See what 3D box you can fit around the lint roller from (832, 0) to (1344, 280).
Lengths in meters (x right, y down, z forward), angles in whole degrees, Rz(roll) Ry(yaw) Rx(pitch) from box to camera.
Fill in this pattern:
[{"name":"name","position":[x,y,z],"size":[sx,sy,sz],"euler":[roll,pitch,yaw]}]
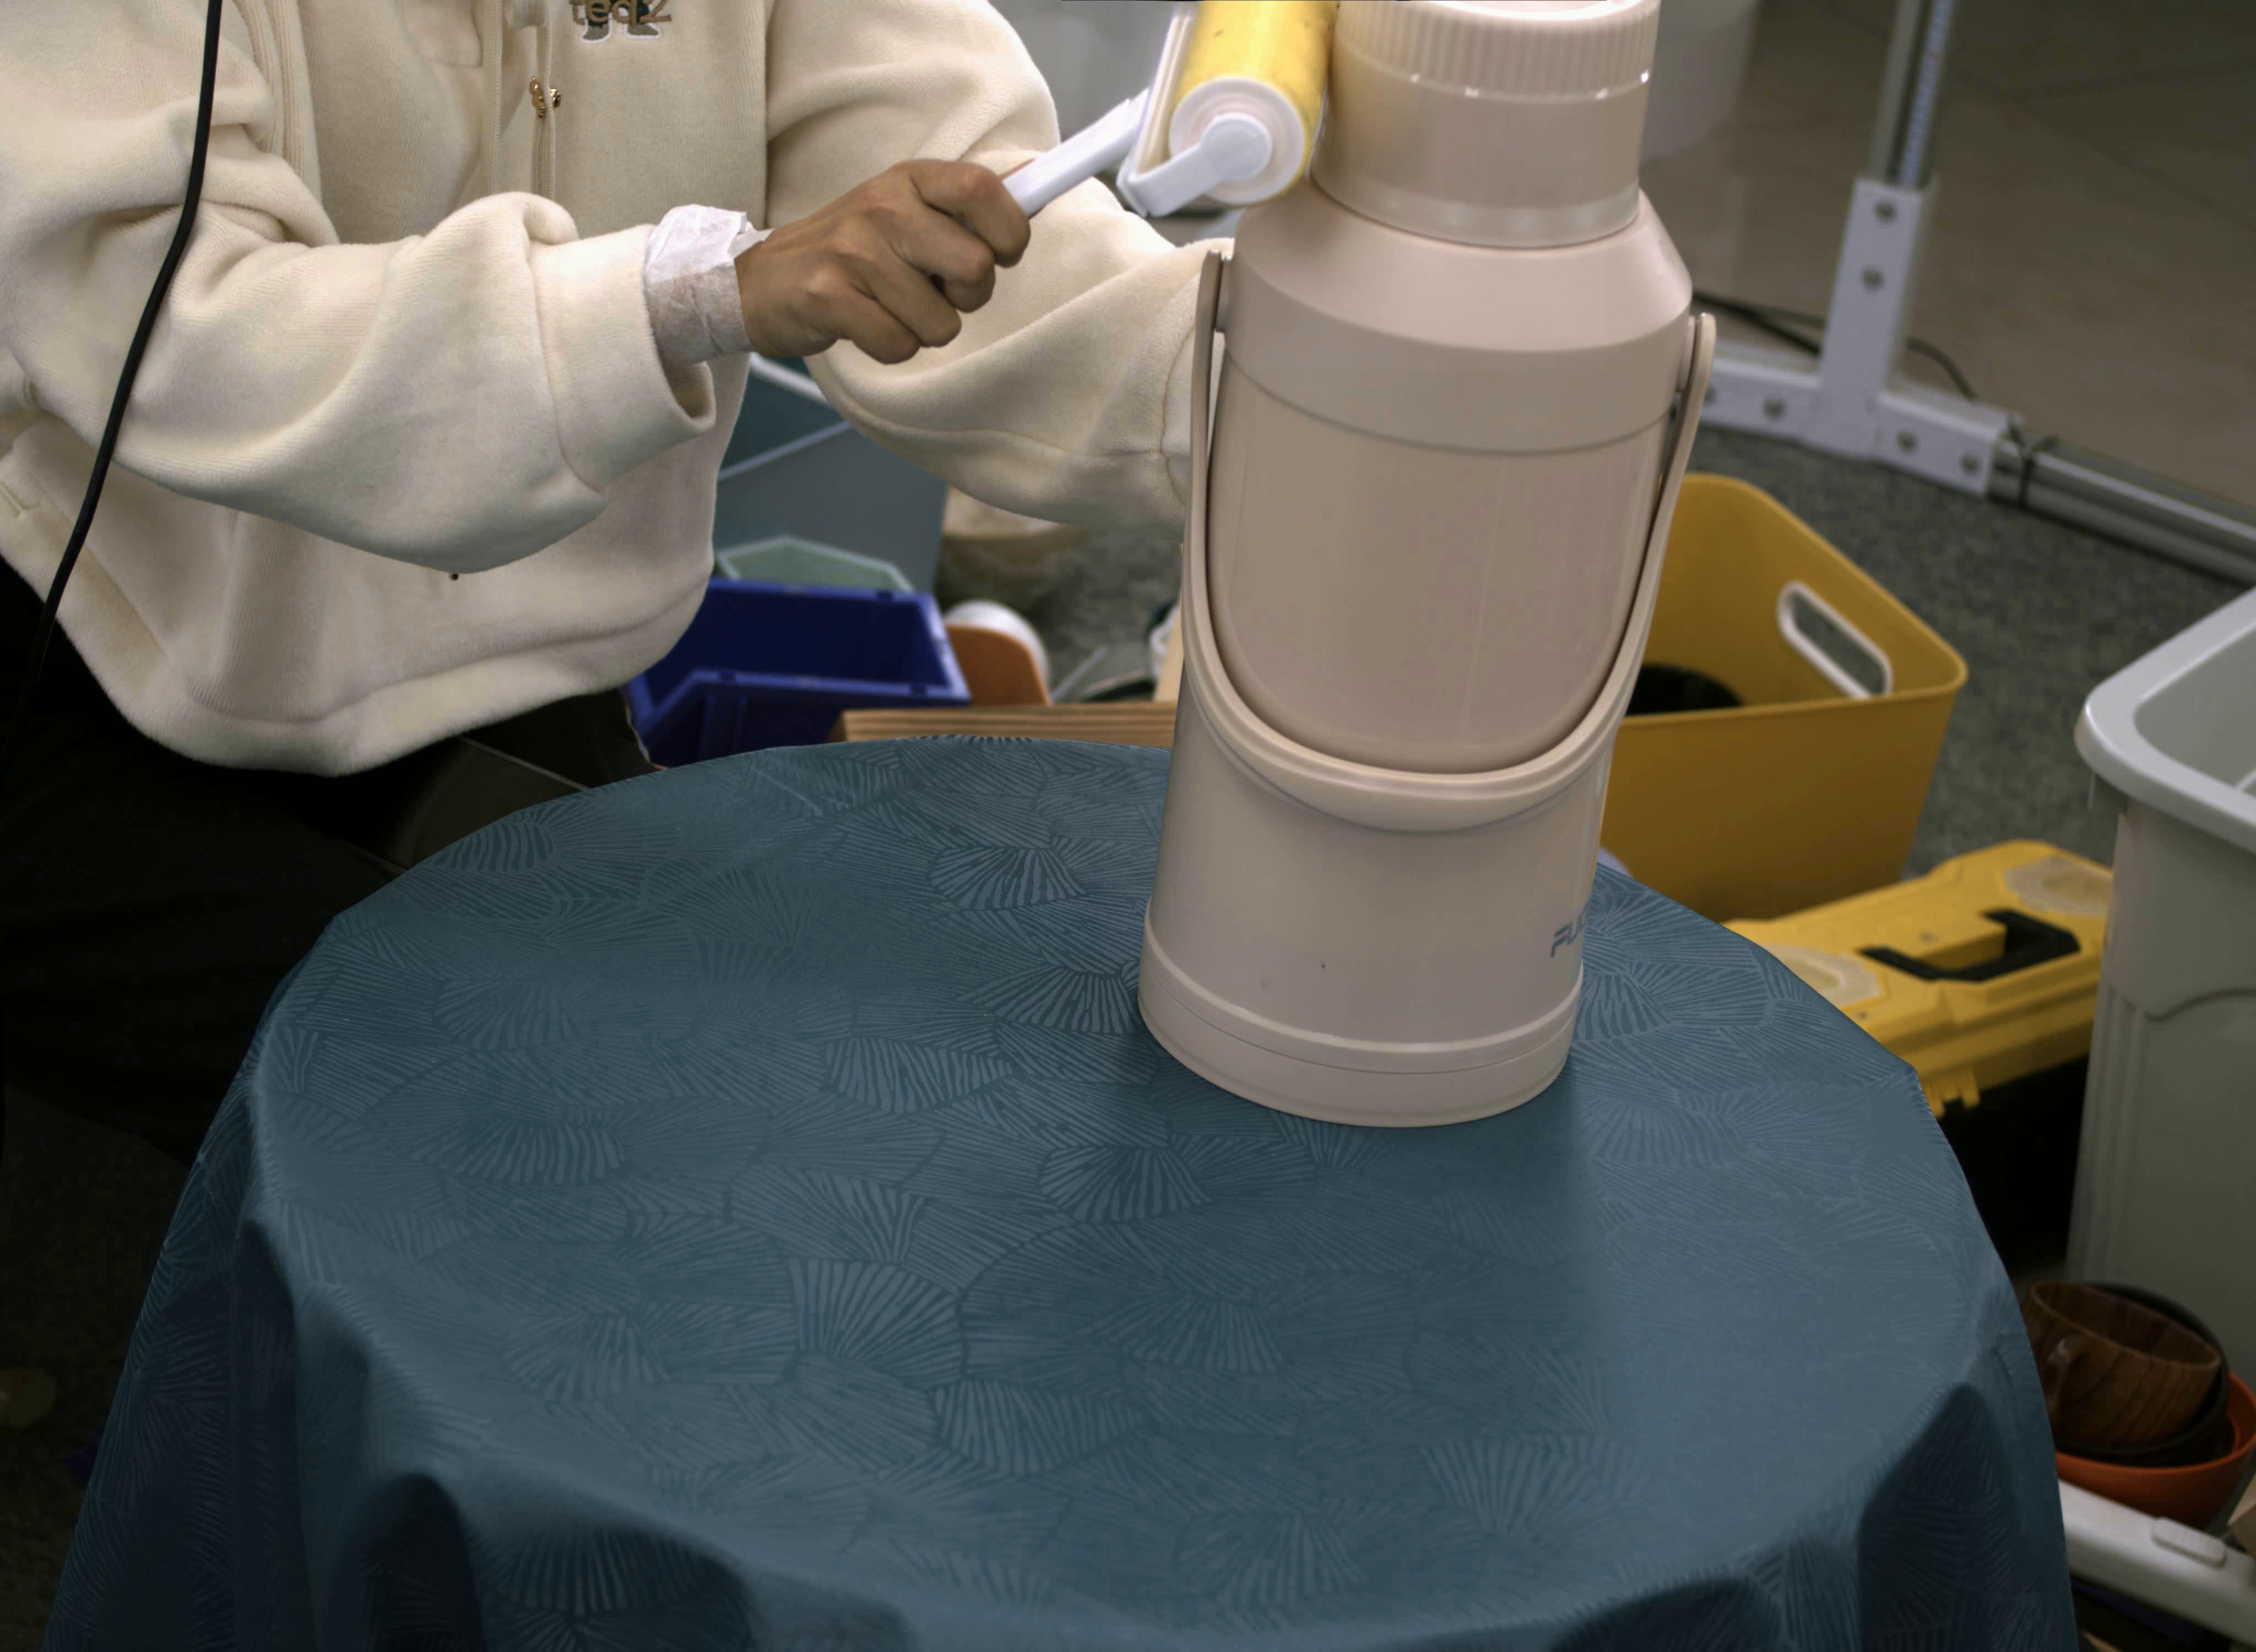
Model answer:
[{"name":"lint roller","position":[-0.020,-0.237,1.793],"size":[0.192,0.051,0.175],"euler":[-18,26,16]}]

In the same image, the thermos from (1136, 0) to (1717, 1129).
[{"name":"thermos","position":[0.105,-0.111,1.851],"size":[0.175,0.405,0.208],"euler":[7,26,2]}]
